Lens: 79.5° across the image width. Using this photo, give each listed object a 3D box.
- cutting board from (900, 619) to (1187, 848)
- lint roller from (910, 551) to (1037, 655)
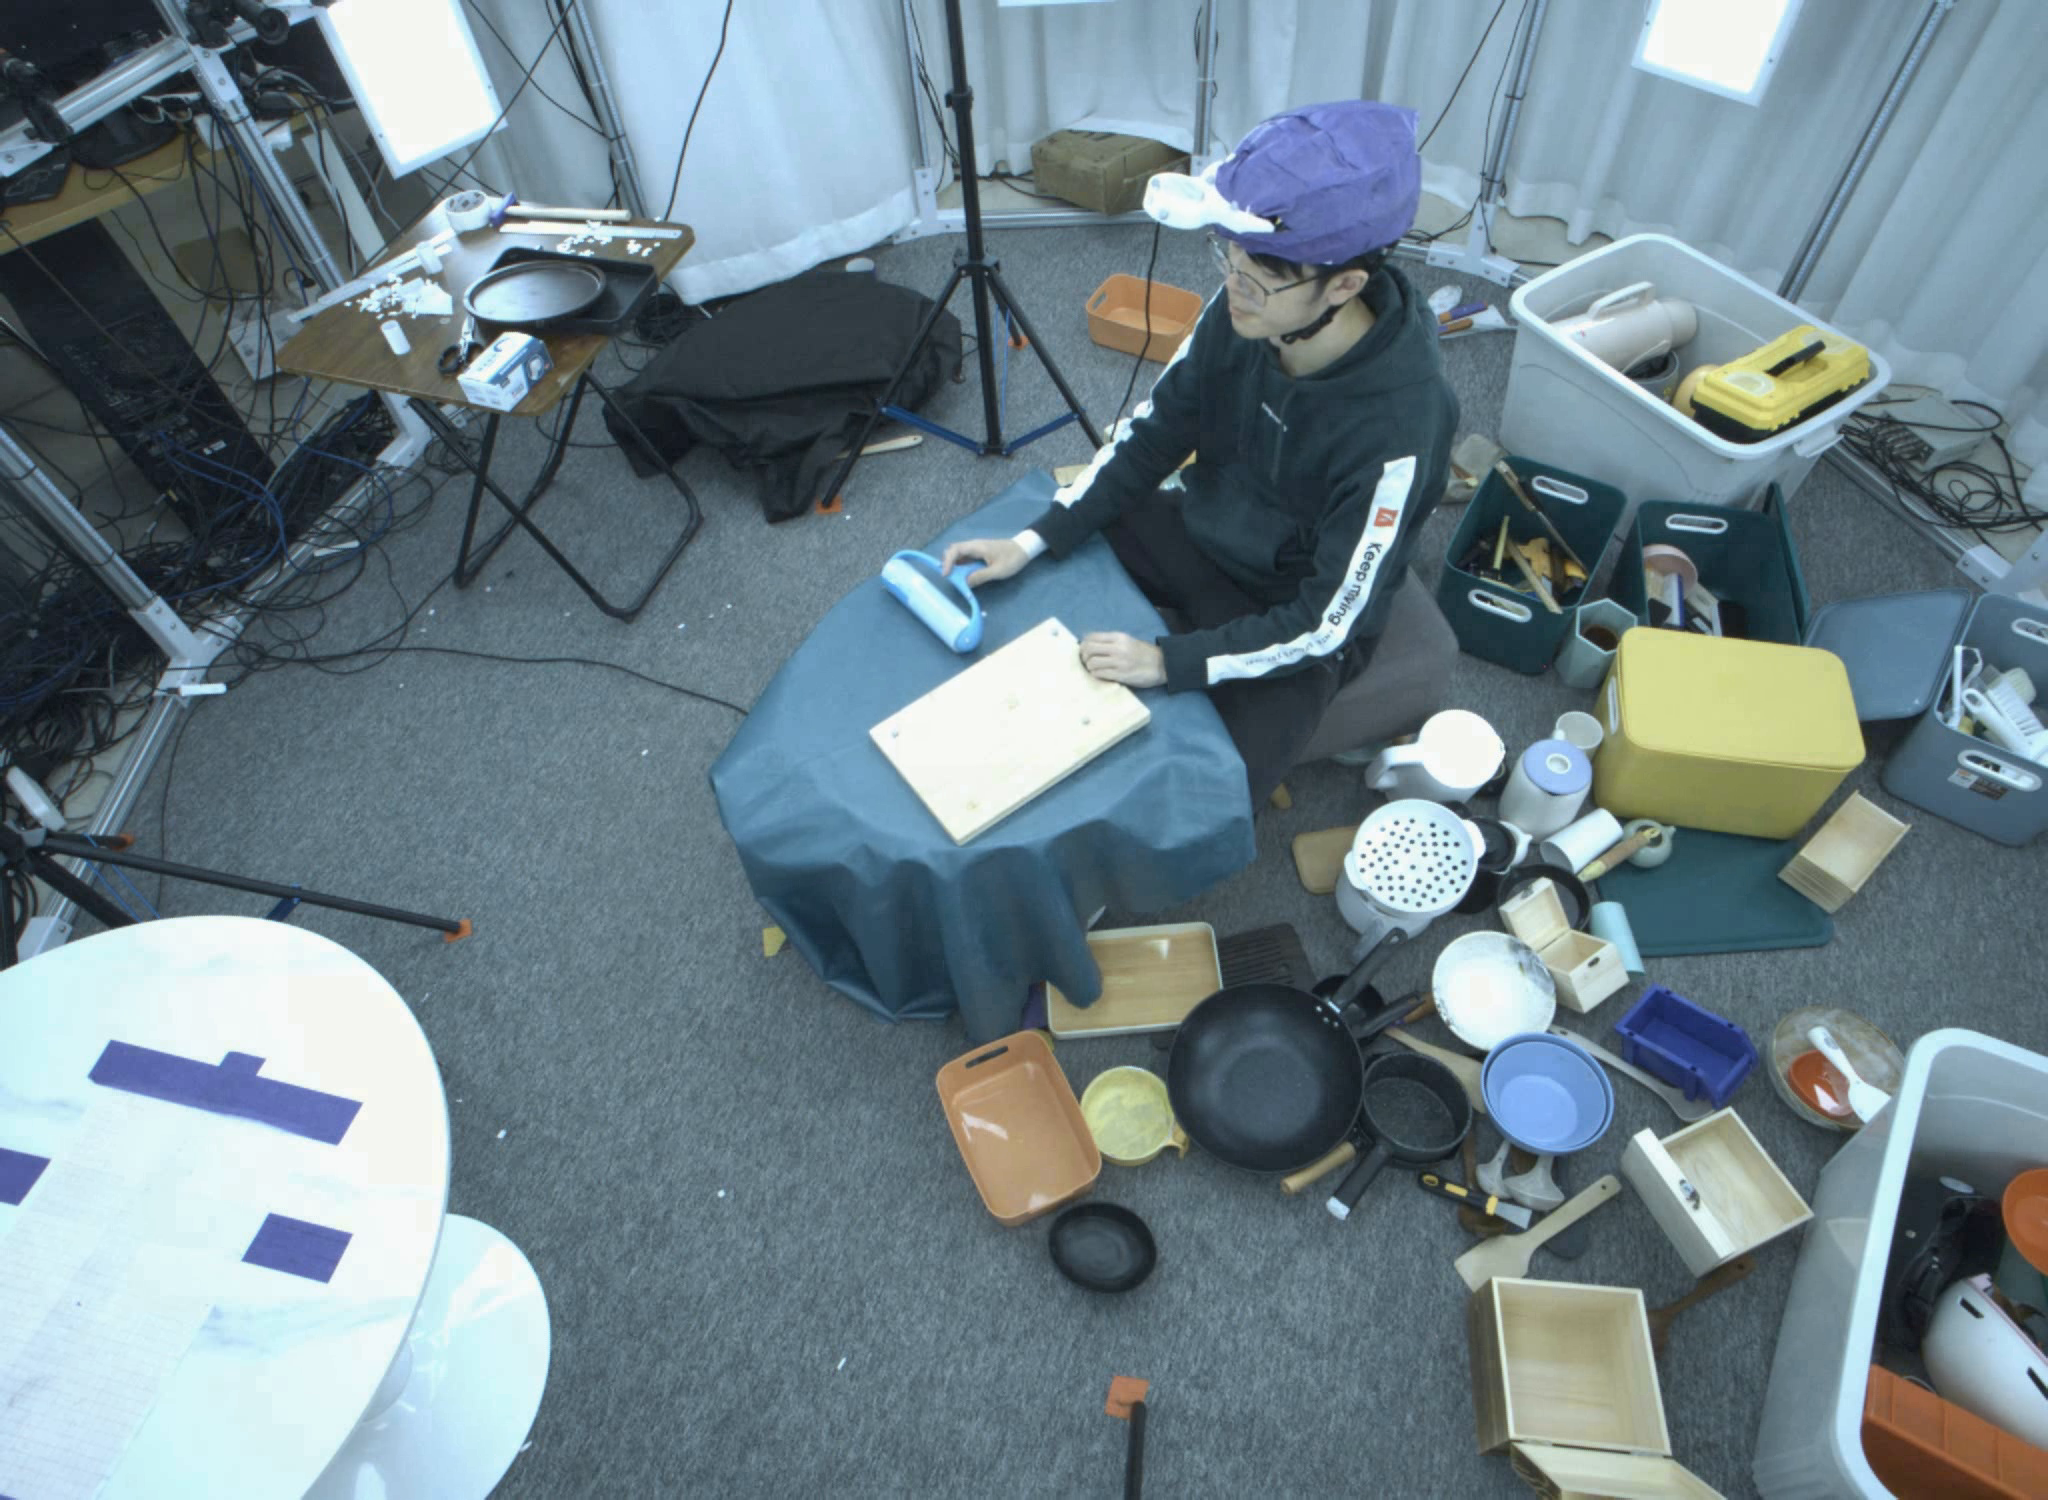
[{"bbox_3d":[0.024,-0.032,1.784,0.351,0.024,0.246,-32,60,-16],"label":"cutting board"},{"bbox_3d":[-0.056,-0.258,1.933,0.181,0.069,0.224,-36,60,-20],"label":"lint roller"}]
